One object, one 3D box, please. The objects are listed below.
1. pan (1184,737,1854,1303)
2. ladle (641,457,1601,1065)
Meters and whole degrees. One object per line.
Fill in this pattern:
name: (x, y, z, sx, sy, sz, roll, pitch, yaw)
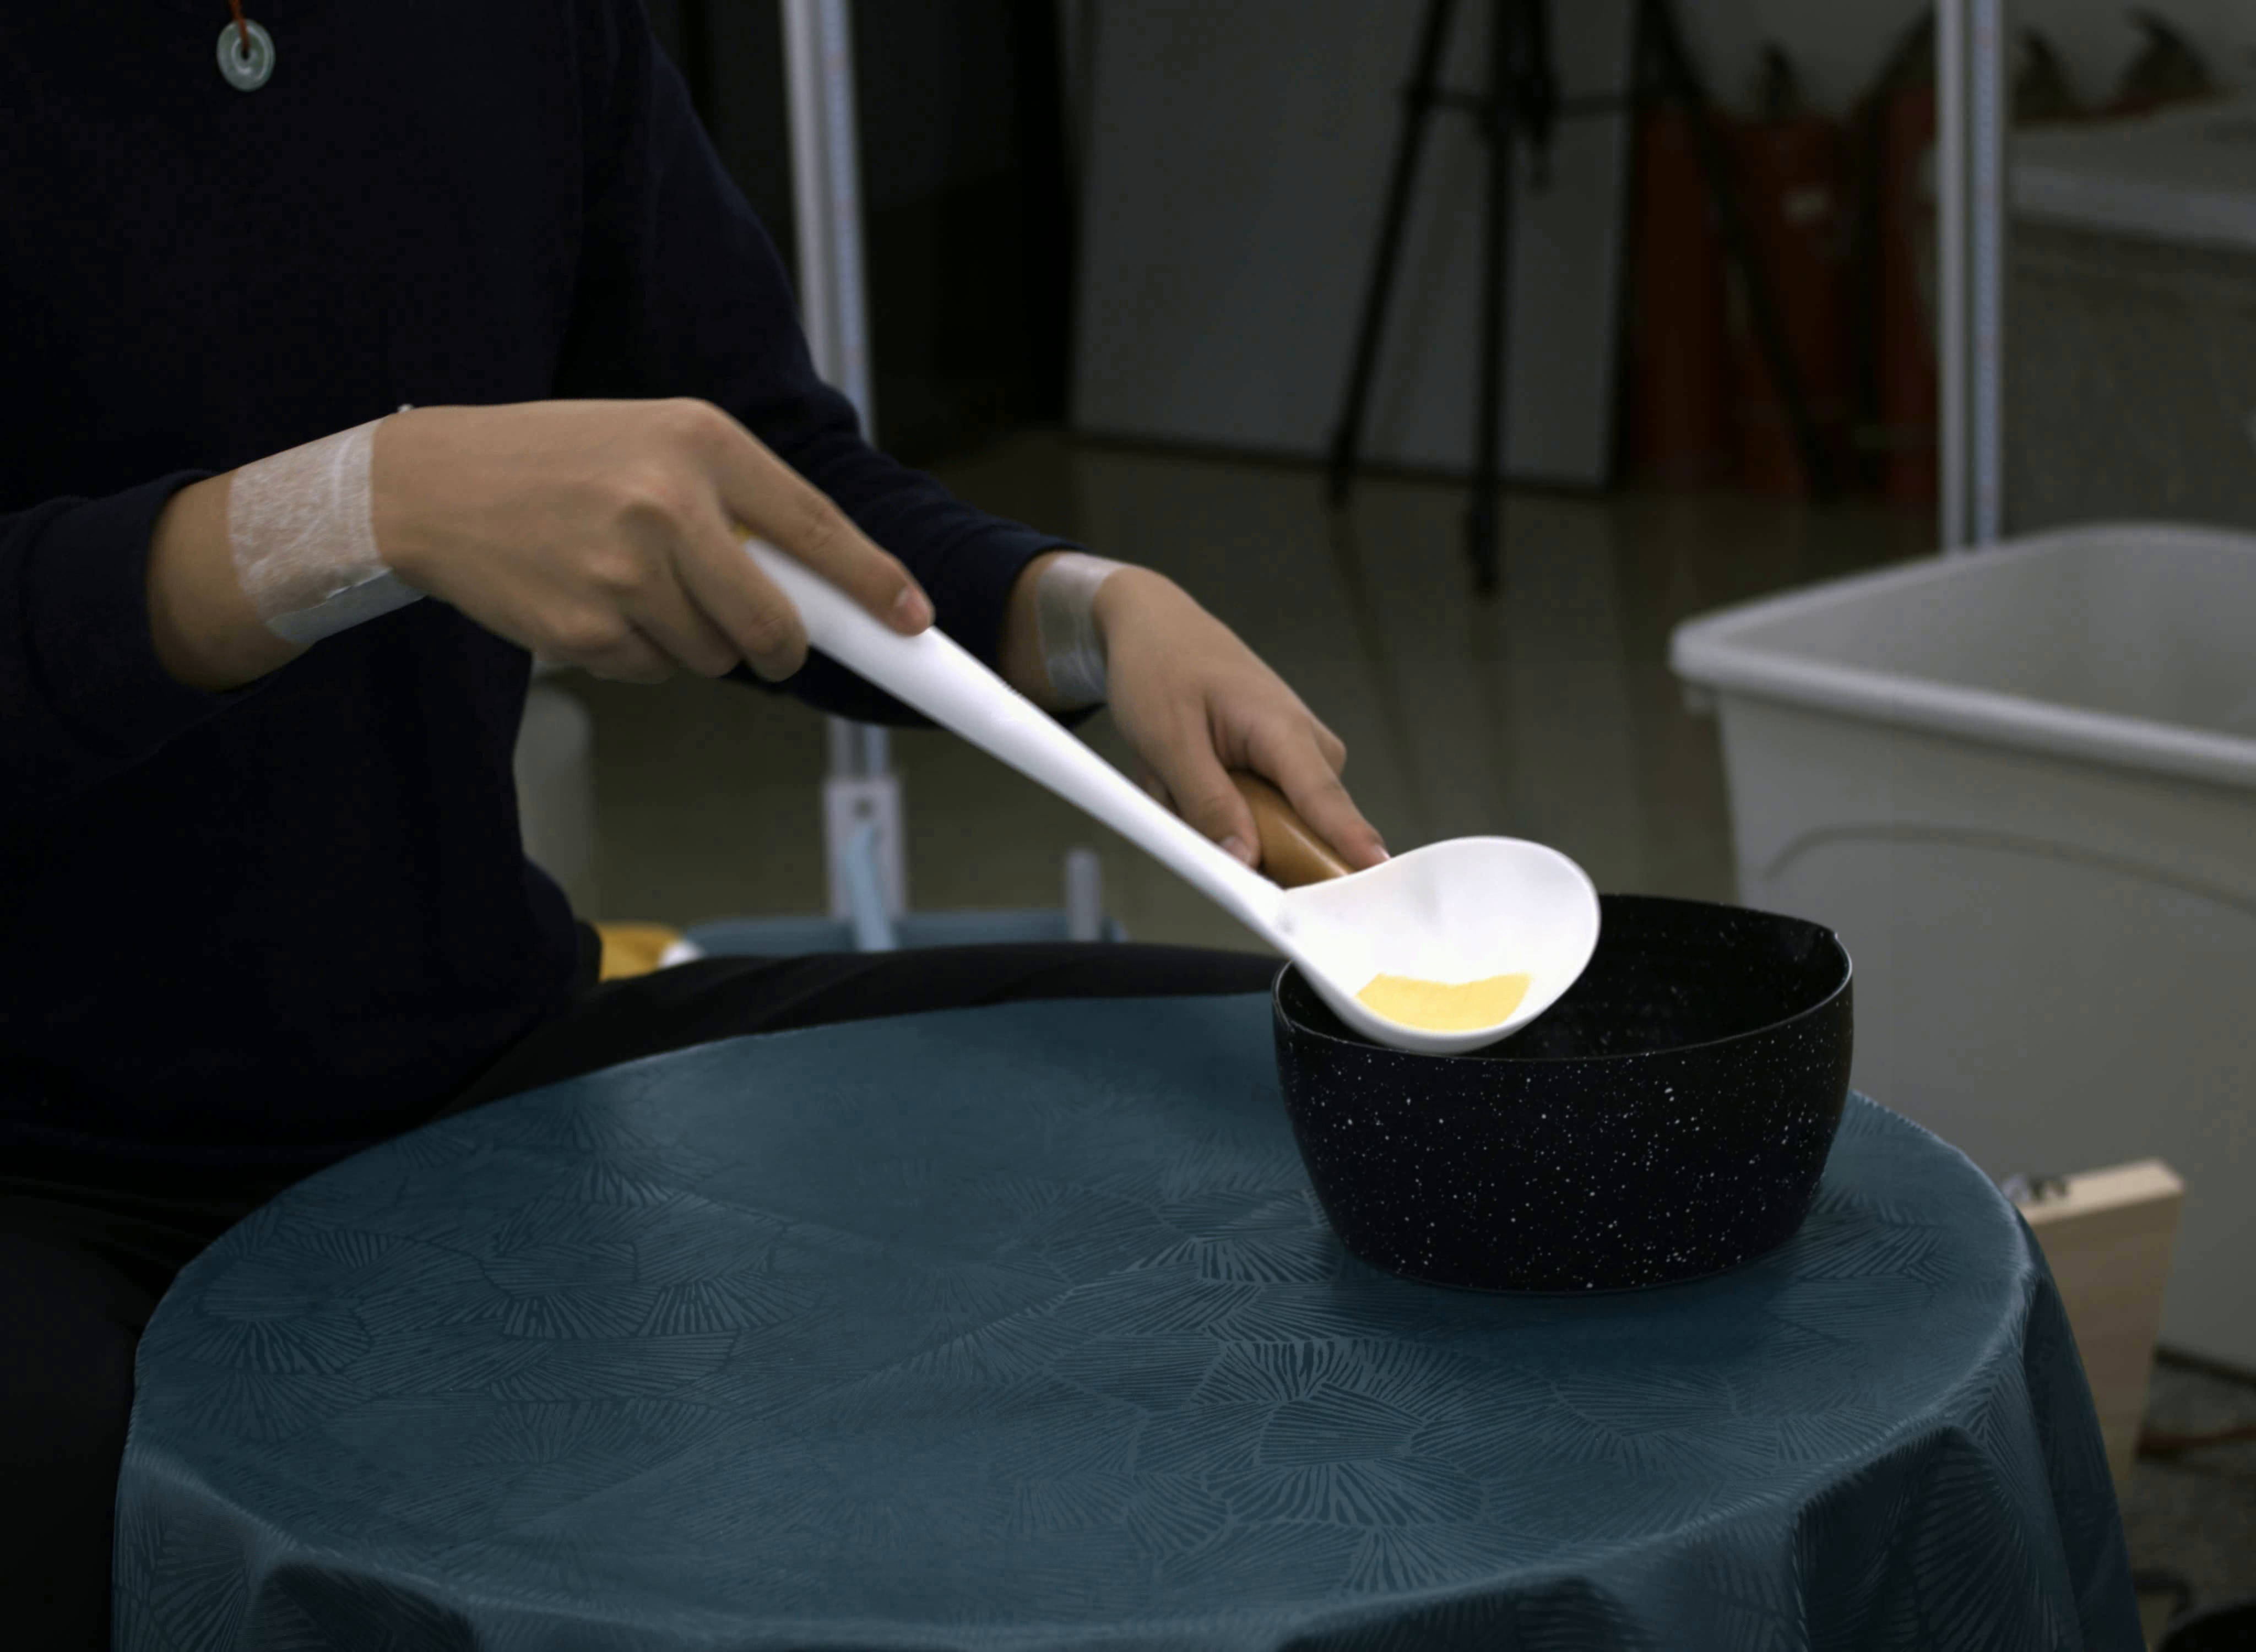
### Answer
pan: (0.102, 0.058, 1.767, 0.203, 0.109, 0.346, -11, 17, -24)
ladle: (-0.003, -0.024, 1.545, 0.290, 0.070, 0.090, 33, 51, -6)
